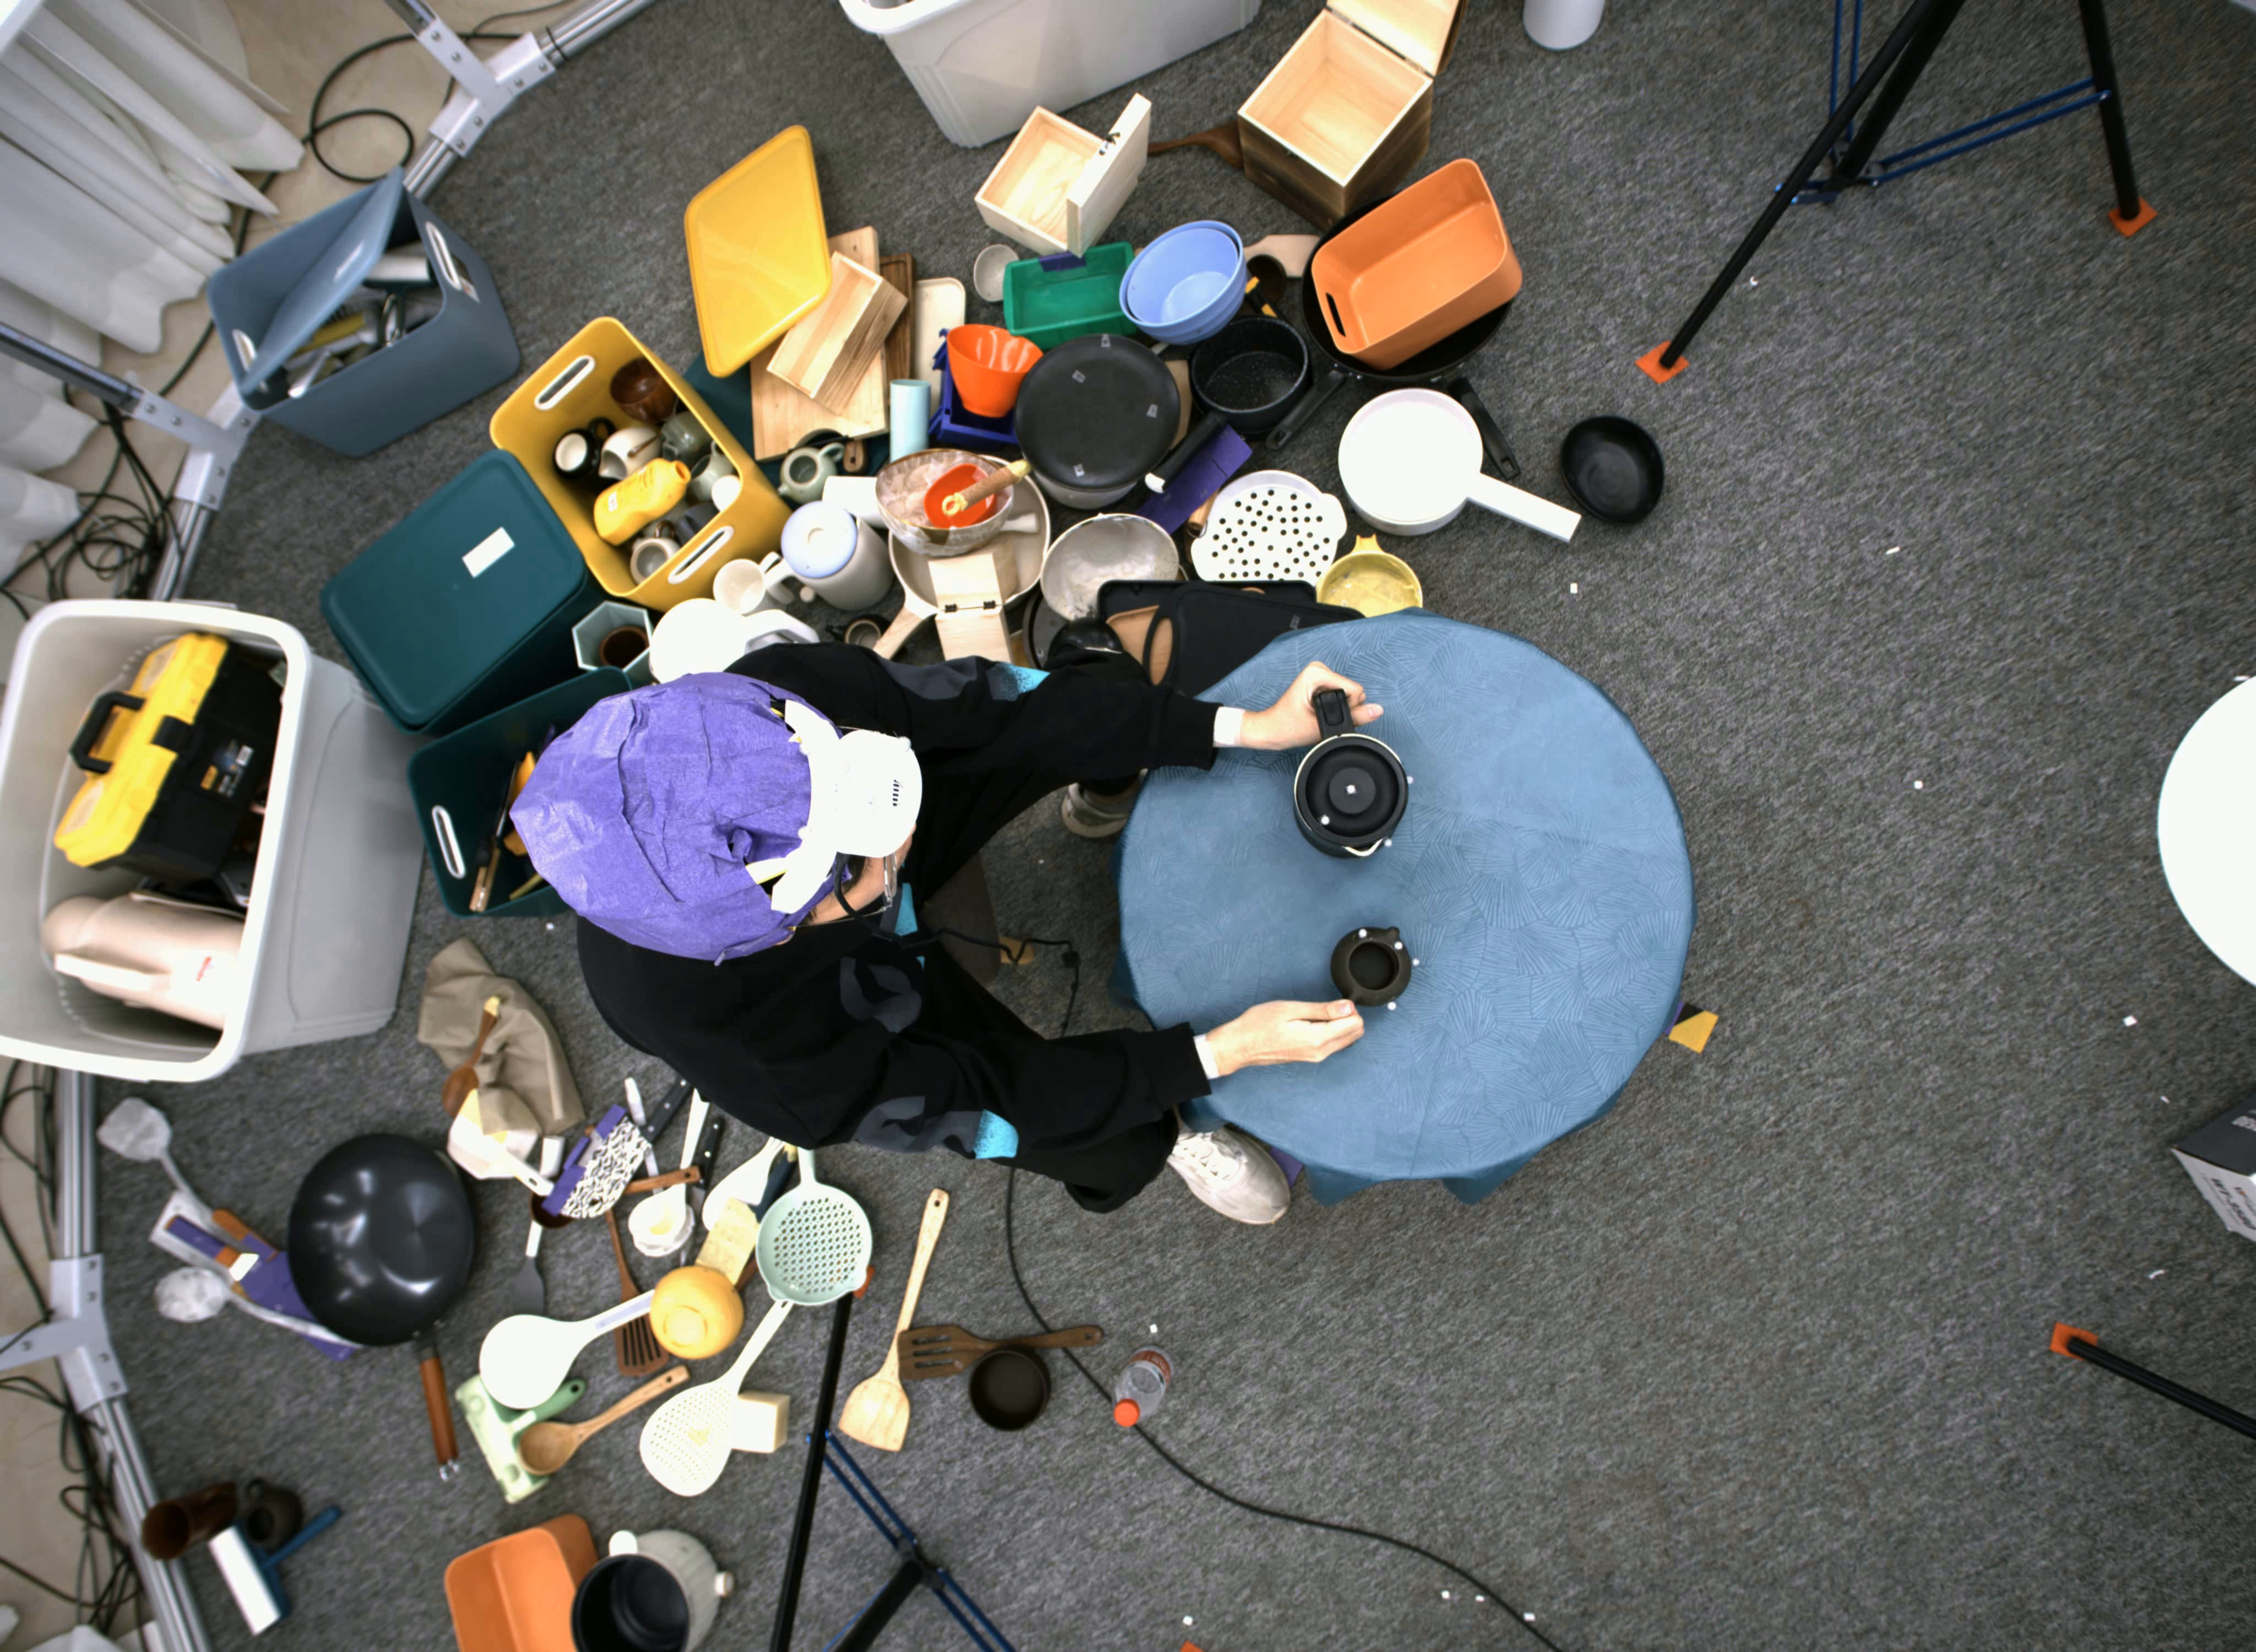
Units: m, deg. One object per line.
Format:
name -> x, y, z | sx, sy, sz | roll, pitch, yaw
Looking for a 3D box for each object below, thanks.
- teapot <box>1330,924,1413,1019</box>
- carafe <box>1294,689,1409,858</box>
teapot -> 0.241, 0.148, 1.409 | 0.083, 0.053, 0.113 | 37, 84, 9
carafe -> 0.216, -0.051, 1.378 | 0.115, 0.173, 0.171 | -14, 87, 9
